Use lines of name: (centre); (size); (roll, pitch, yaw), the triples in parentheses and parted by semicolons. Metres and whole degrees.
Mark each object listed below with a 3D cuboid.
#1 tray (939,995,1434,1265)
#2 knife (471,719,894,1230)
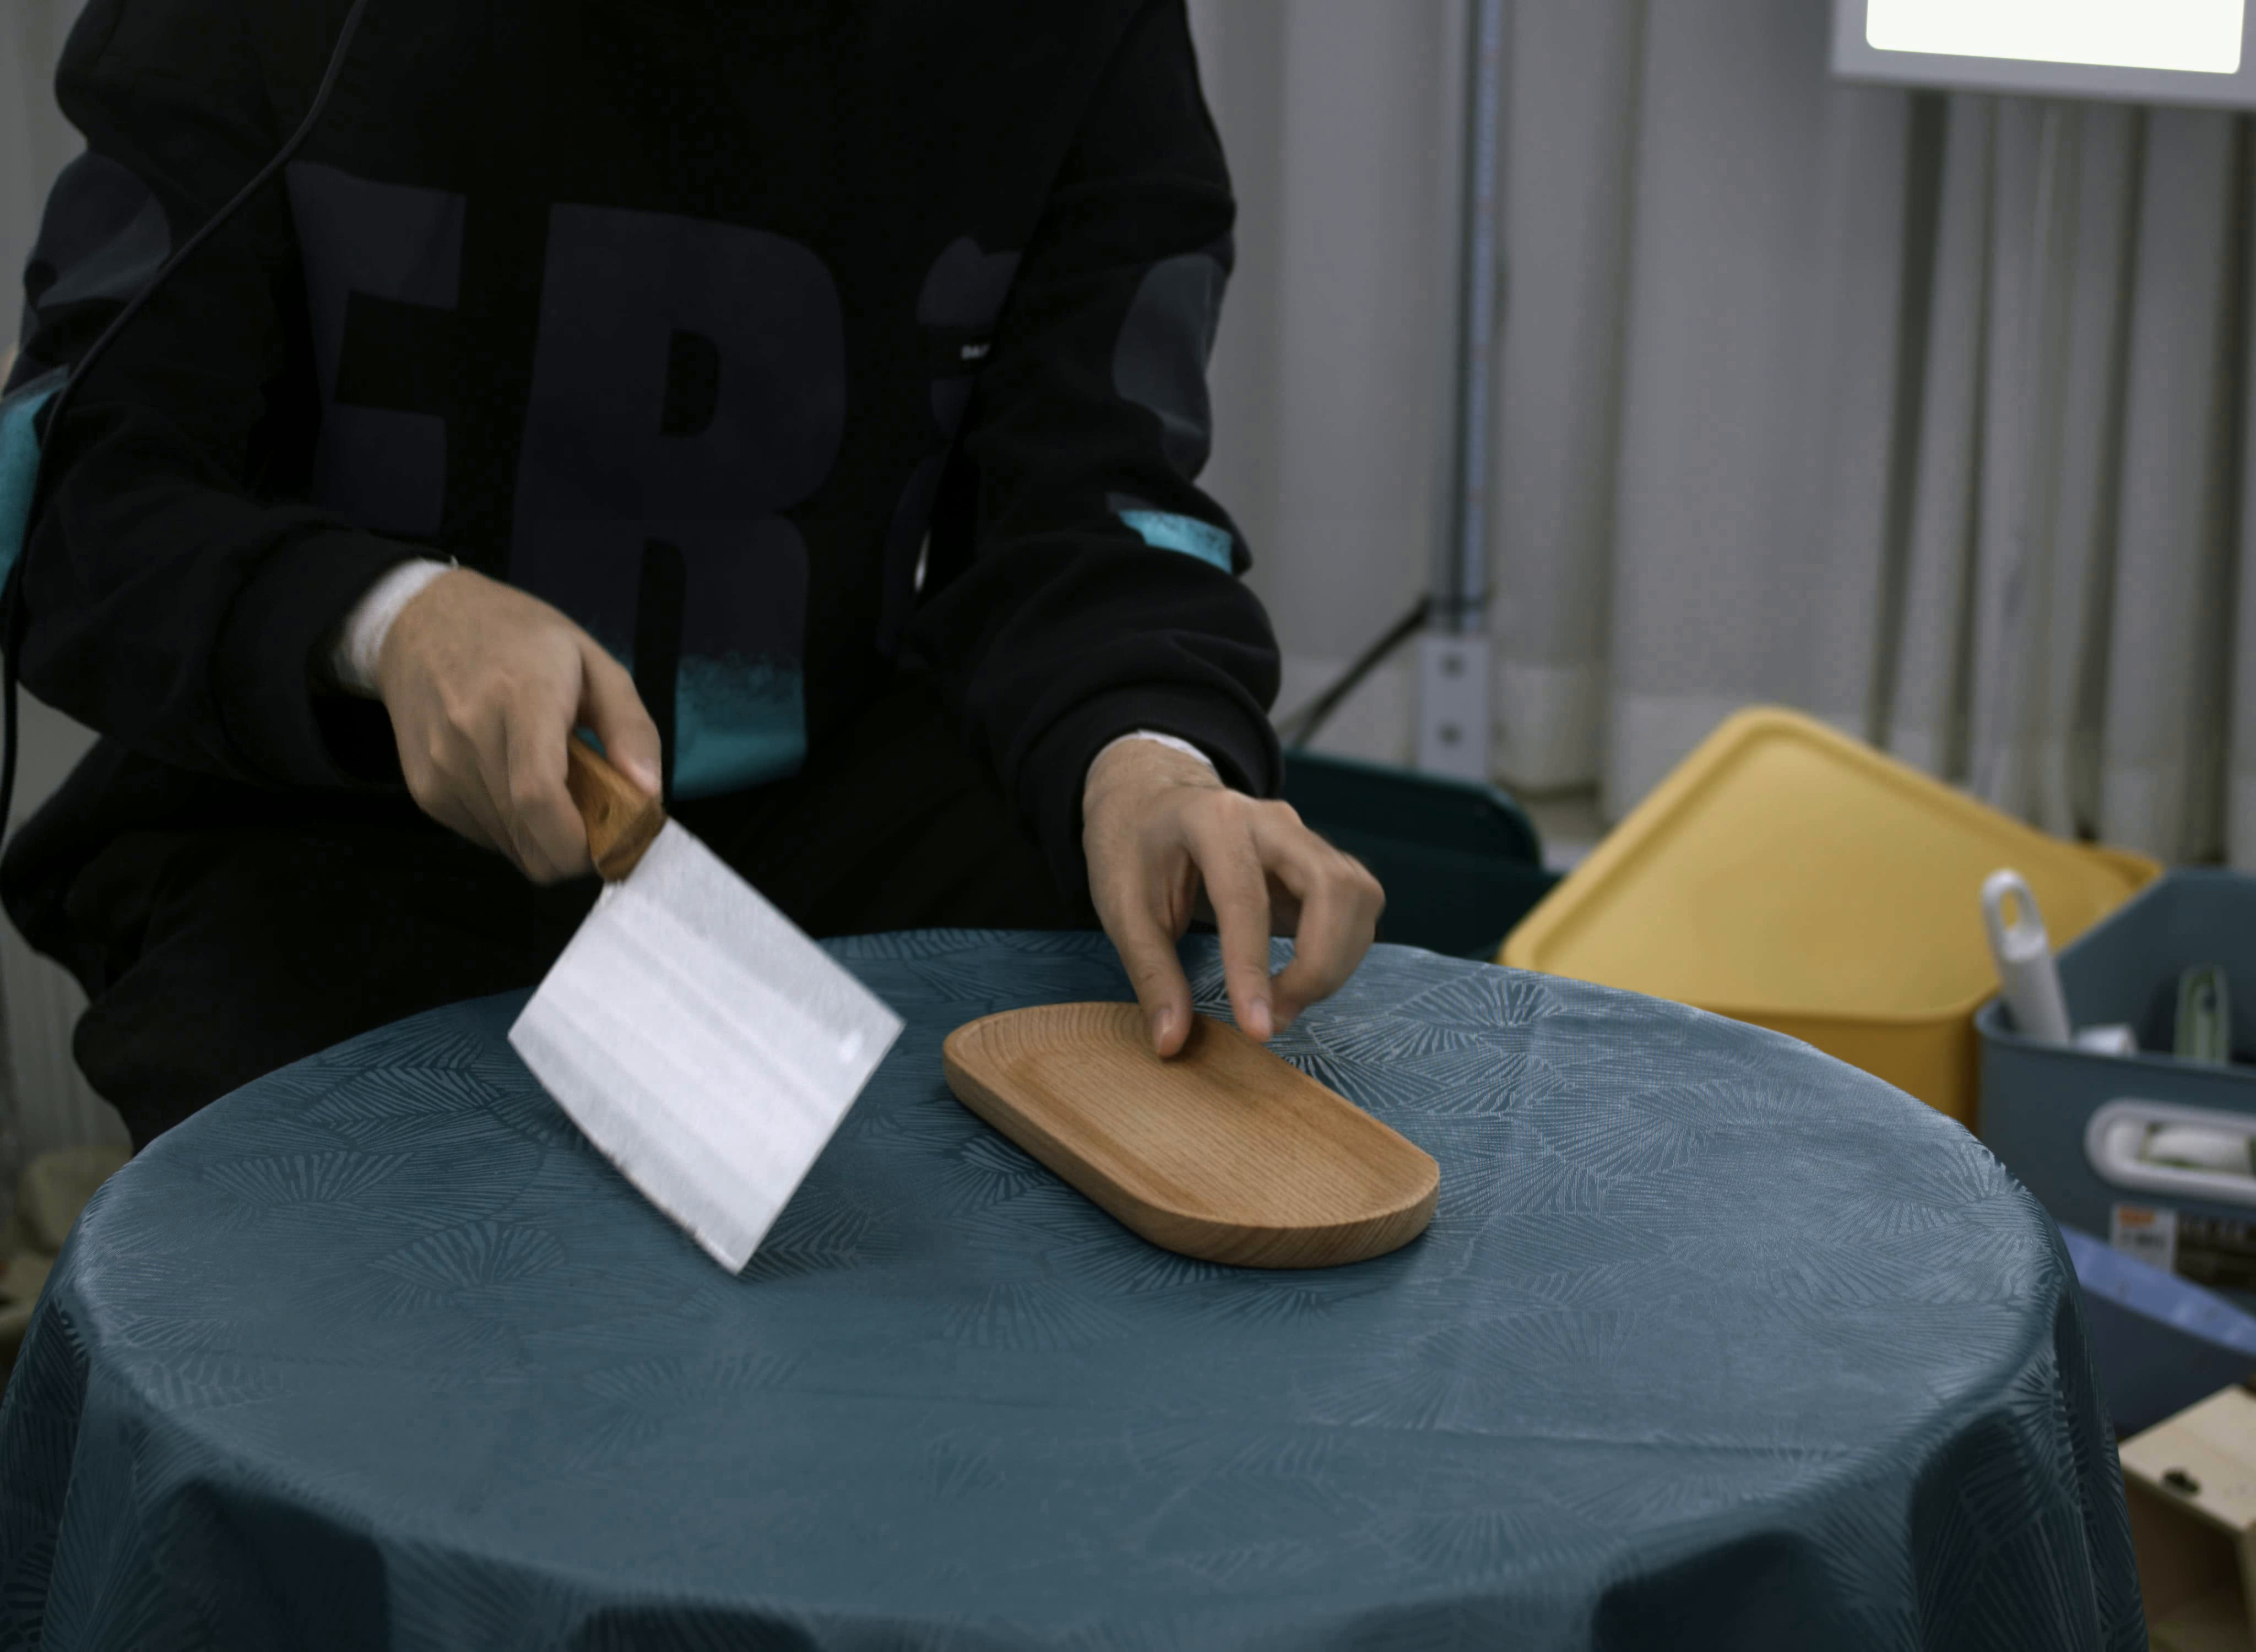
tray: (0.016, 0.094, 1.658); (0.102, 0.020, 0.228); (-6, 16, -24)
knife: (-0.157, 0.046, 1.657); (0.021, 0.093, 0.302); (32, 3, -34)
